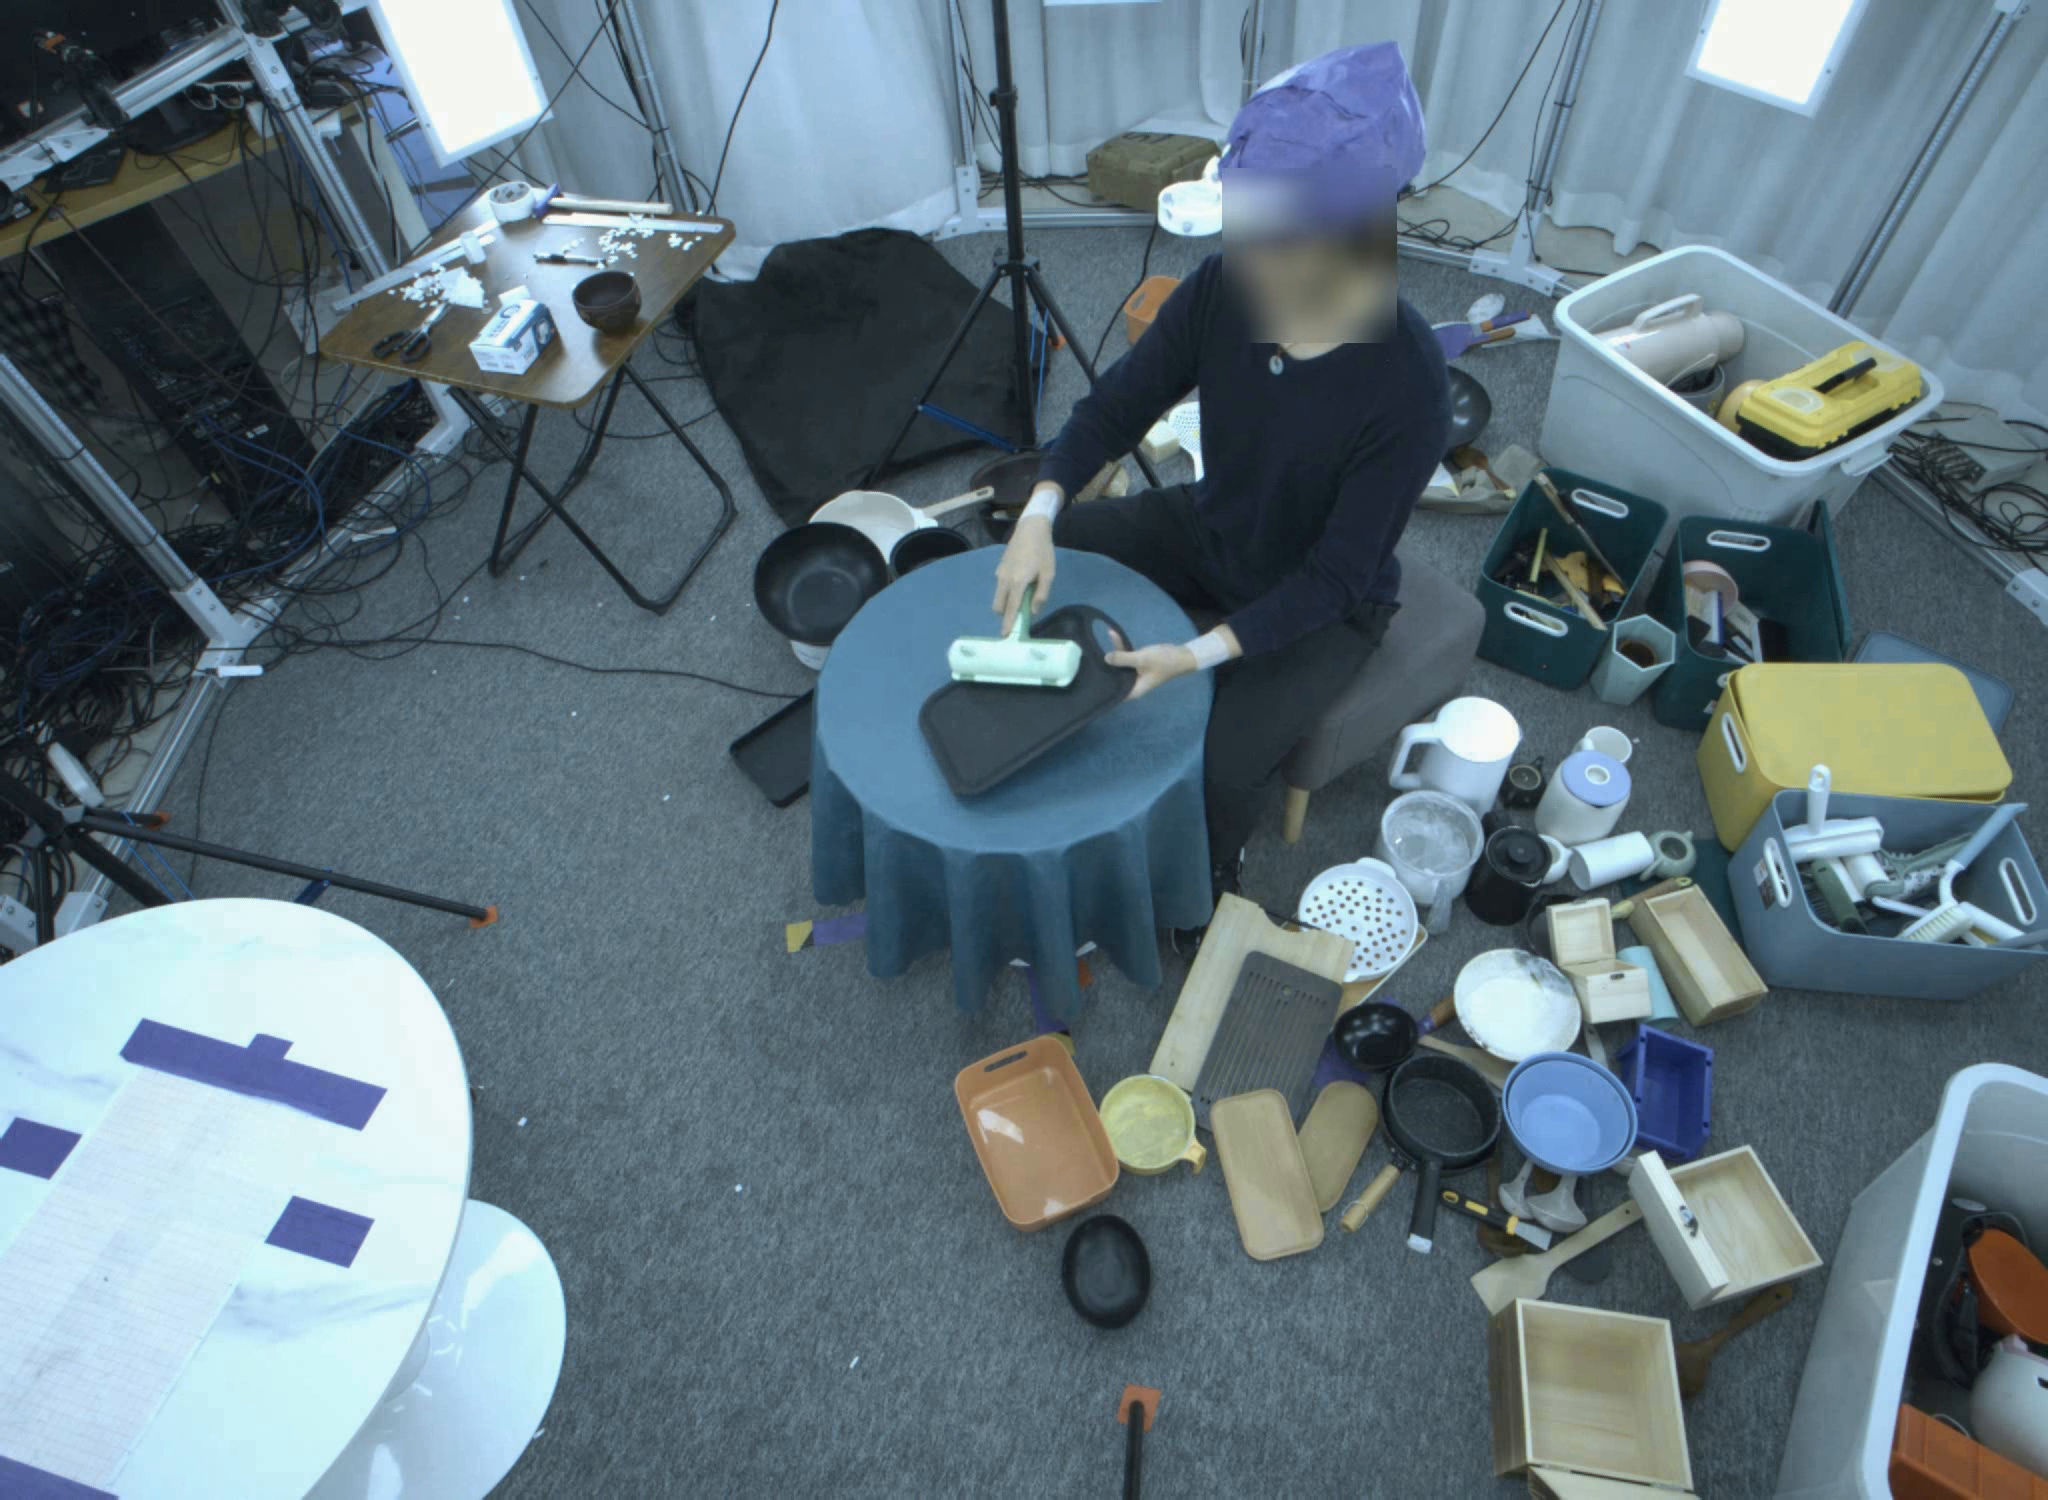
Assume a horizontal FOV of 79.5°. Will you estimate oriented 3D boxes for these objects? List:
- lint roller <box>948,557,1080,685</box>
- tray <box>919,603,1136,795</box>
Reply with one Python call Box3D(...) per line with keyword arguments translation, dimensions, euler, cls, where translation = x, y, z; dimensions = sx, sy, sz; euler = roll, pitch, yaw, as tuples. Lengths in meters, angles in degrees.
Box3D(translation=(-0.017, -0.187, 1.751), dimensions=(0.195, 0.083, 0.183), euler=(5, 94, 28), cls="lint roller")
Box3D(translation=(0.005, -0.082, 1.753), dimensions=(0.325, 0.010, 0.207), euler=(-33, 53, 4), cls="tray")
